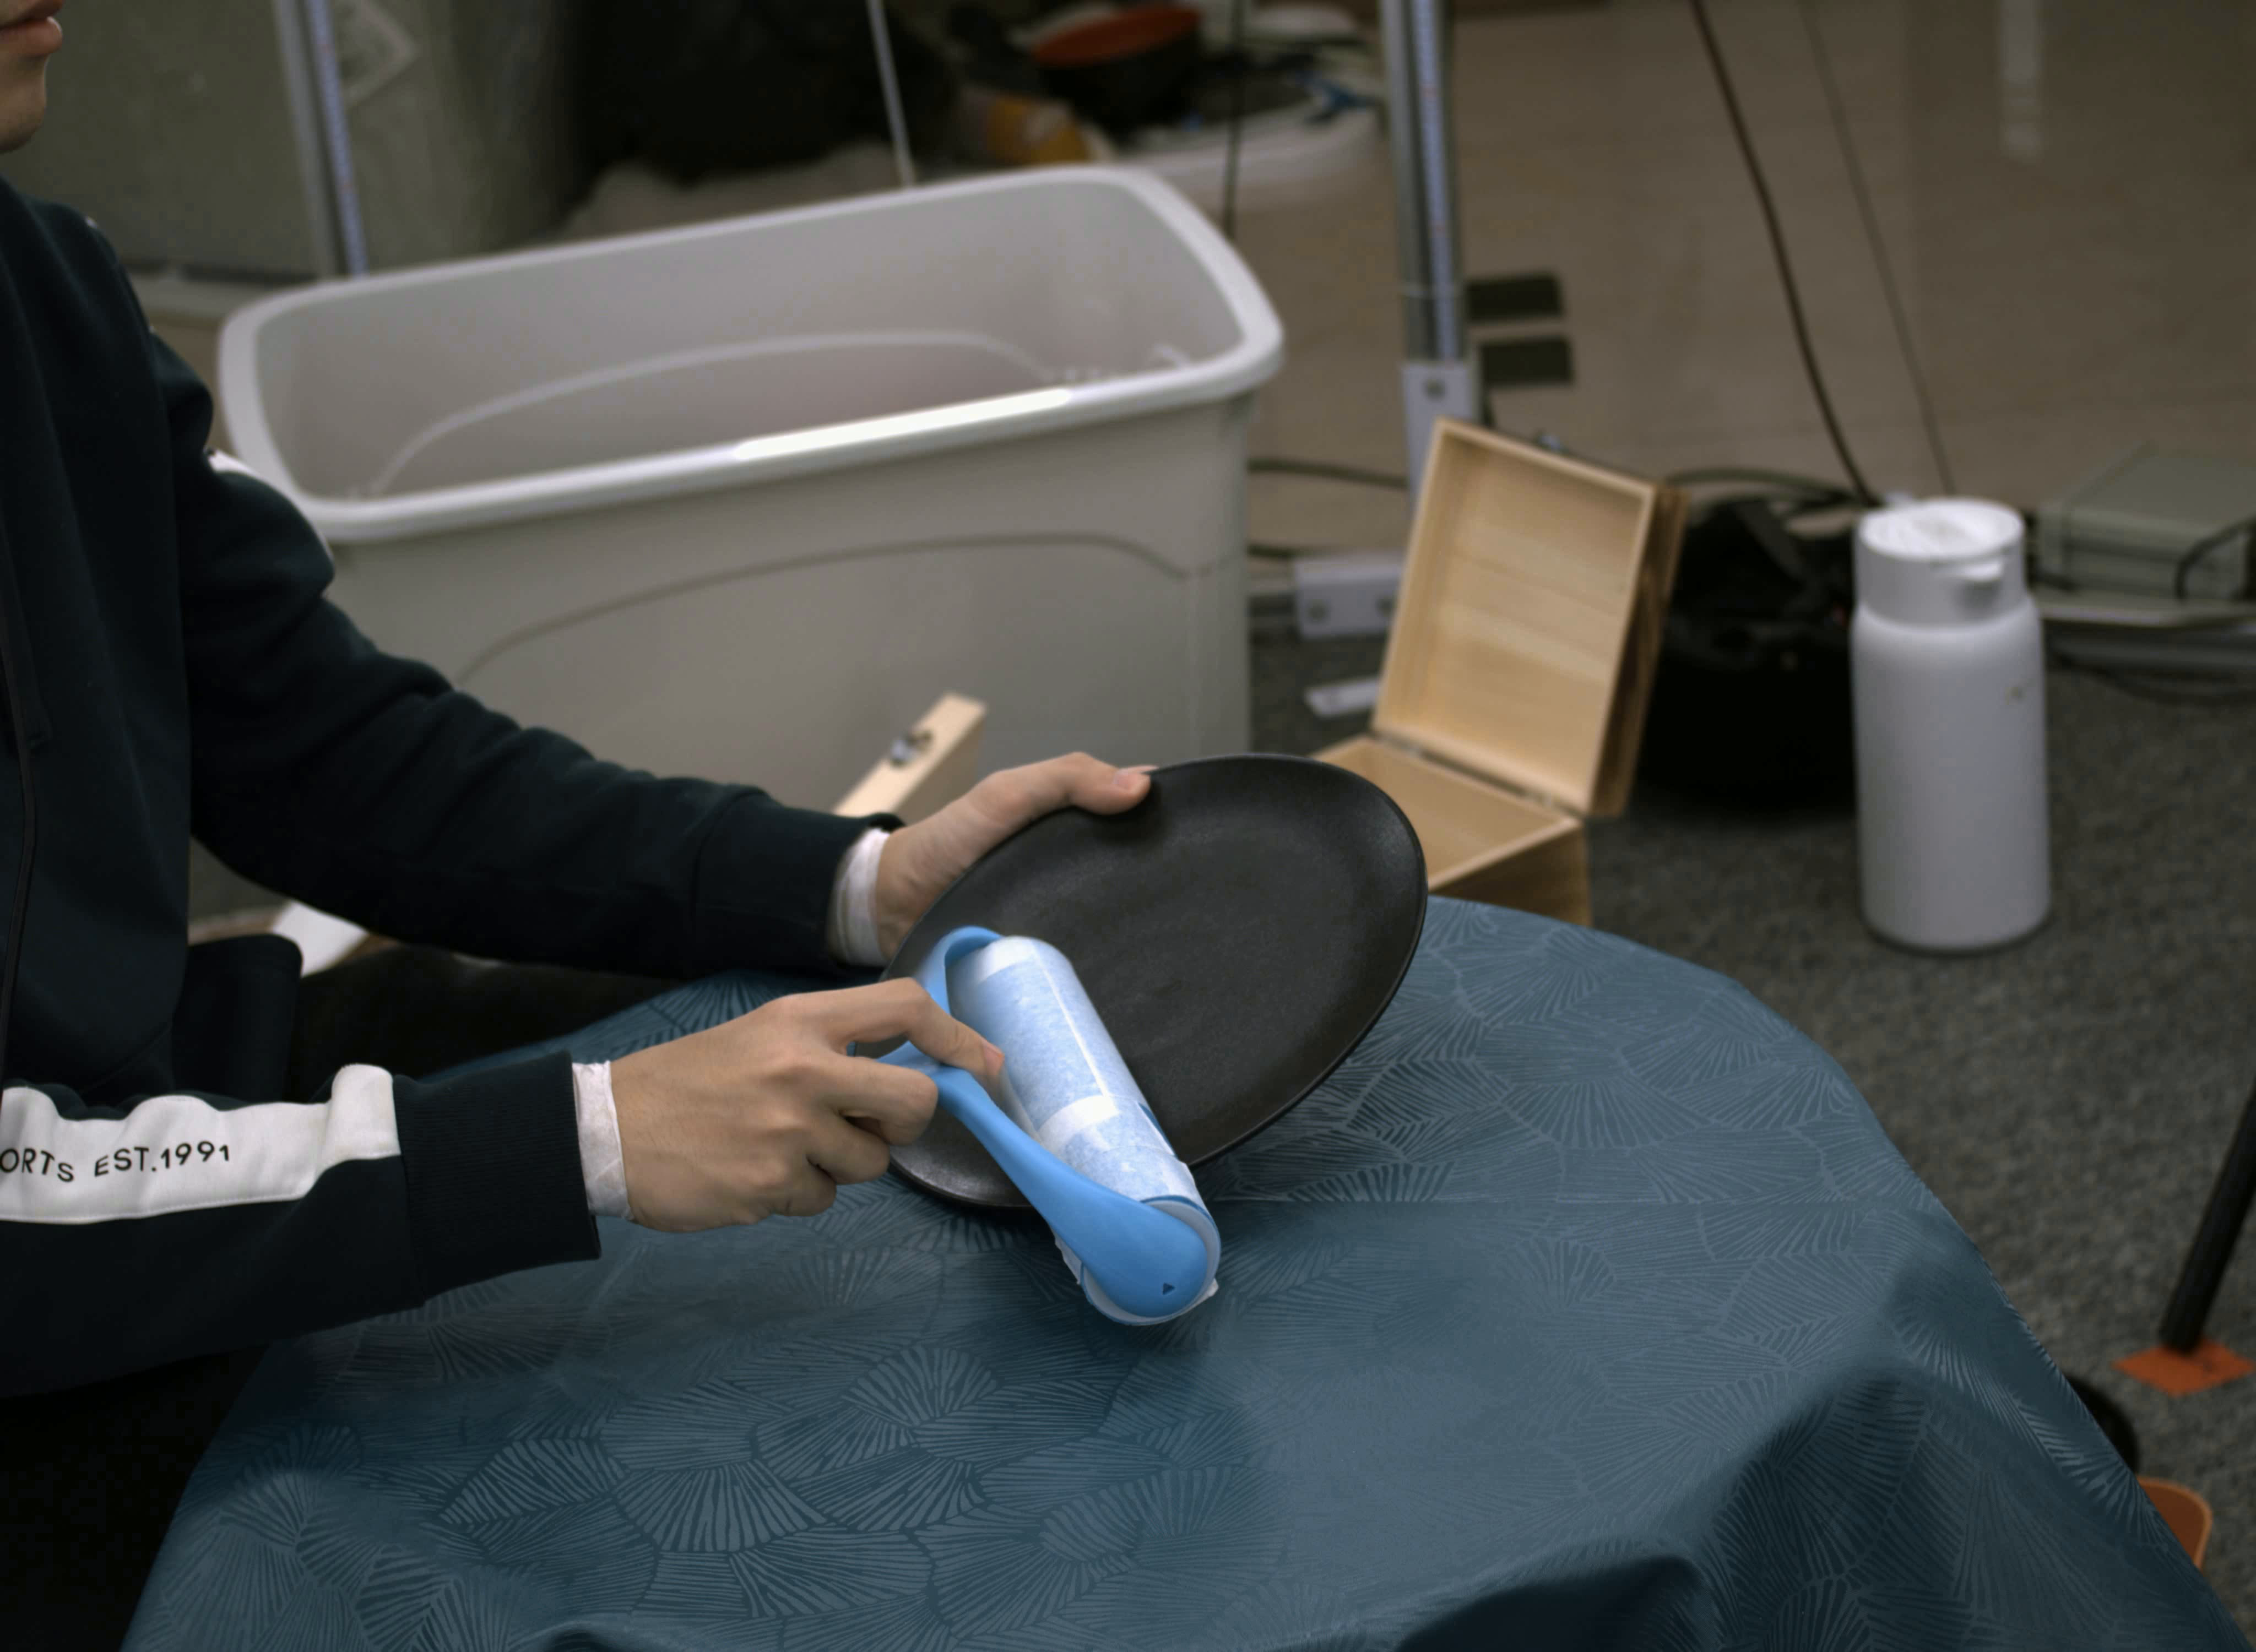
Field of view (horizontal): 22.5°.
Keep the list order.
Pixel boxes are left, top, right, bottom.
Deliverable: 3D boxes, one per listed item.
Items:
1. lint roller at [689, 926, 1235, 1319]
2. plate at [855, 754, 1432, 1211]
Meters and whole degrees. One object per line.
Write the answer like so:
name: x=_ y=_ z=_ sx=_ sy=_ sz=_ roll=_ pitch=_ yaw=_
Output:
lint roller: x=-0.071 y=0.114 z=2.078 sx=0.180 sy=0.069 sz=0.225 roll=-6 pitch=31 yaw=-19
plate: x=0.008 y=0.063 z=2.195 sx=0.245 sy=0.024 sz=0.240 roll=-19 pitch=38 yaw=15
